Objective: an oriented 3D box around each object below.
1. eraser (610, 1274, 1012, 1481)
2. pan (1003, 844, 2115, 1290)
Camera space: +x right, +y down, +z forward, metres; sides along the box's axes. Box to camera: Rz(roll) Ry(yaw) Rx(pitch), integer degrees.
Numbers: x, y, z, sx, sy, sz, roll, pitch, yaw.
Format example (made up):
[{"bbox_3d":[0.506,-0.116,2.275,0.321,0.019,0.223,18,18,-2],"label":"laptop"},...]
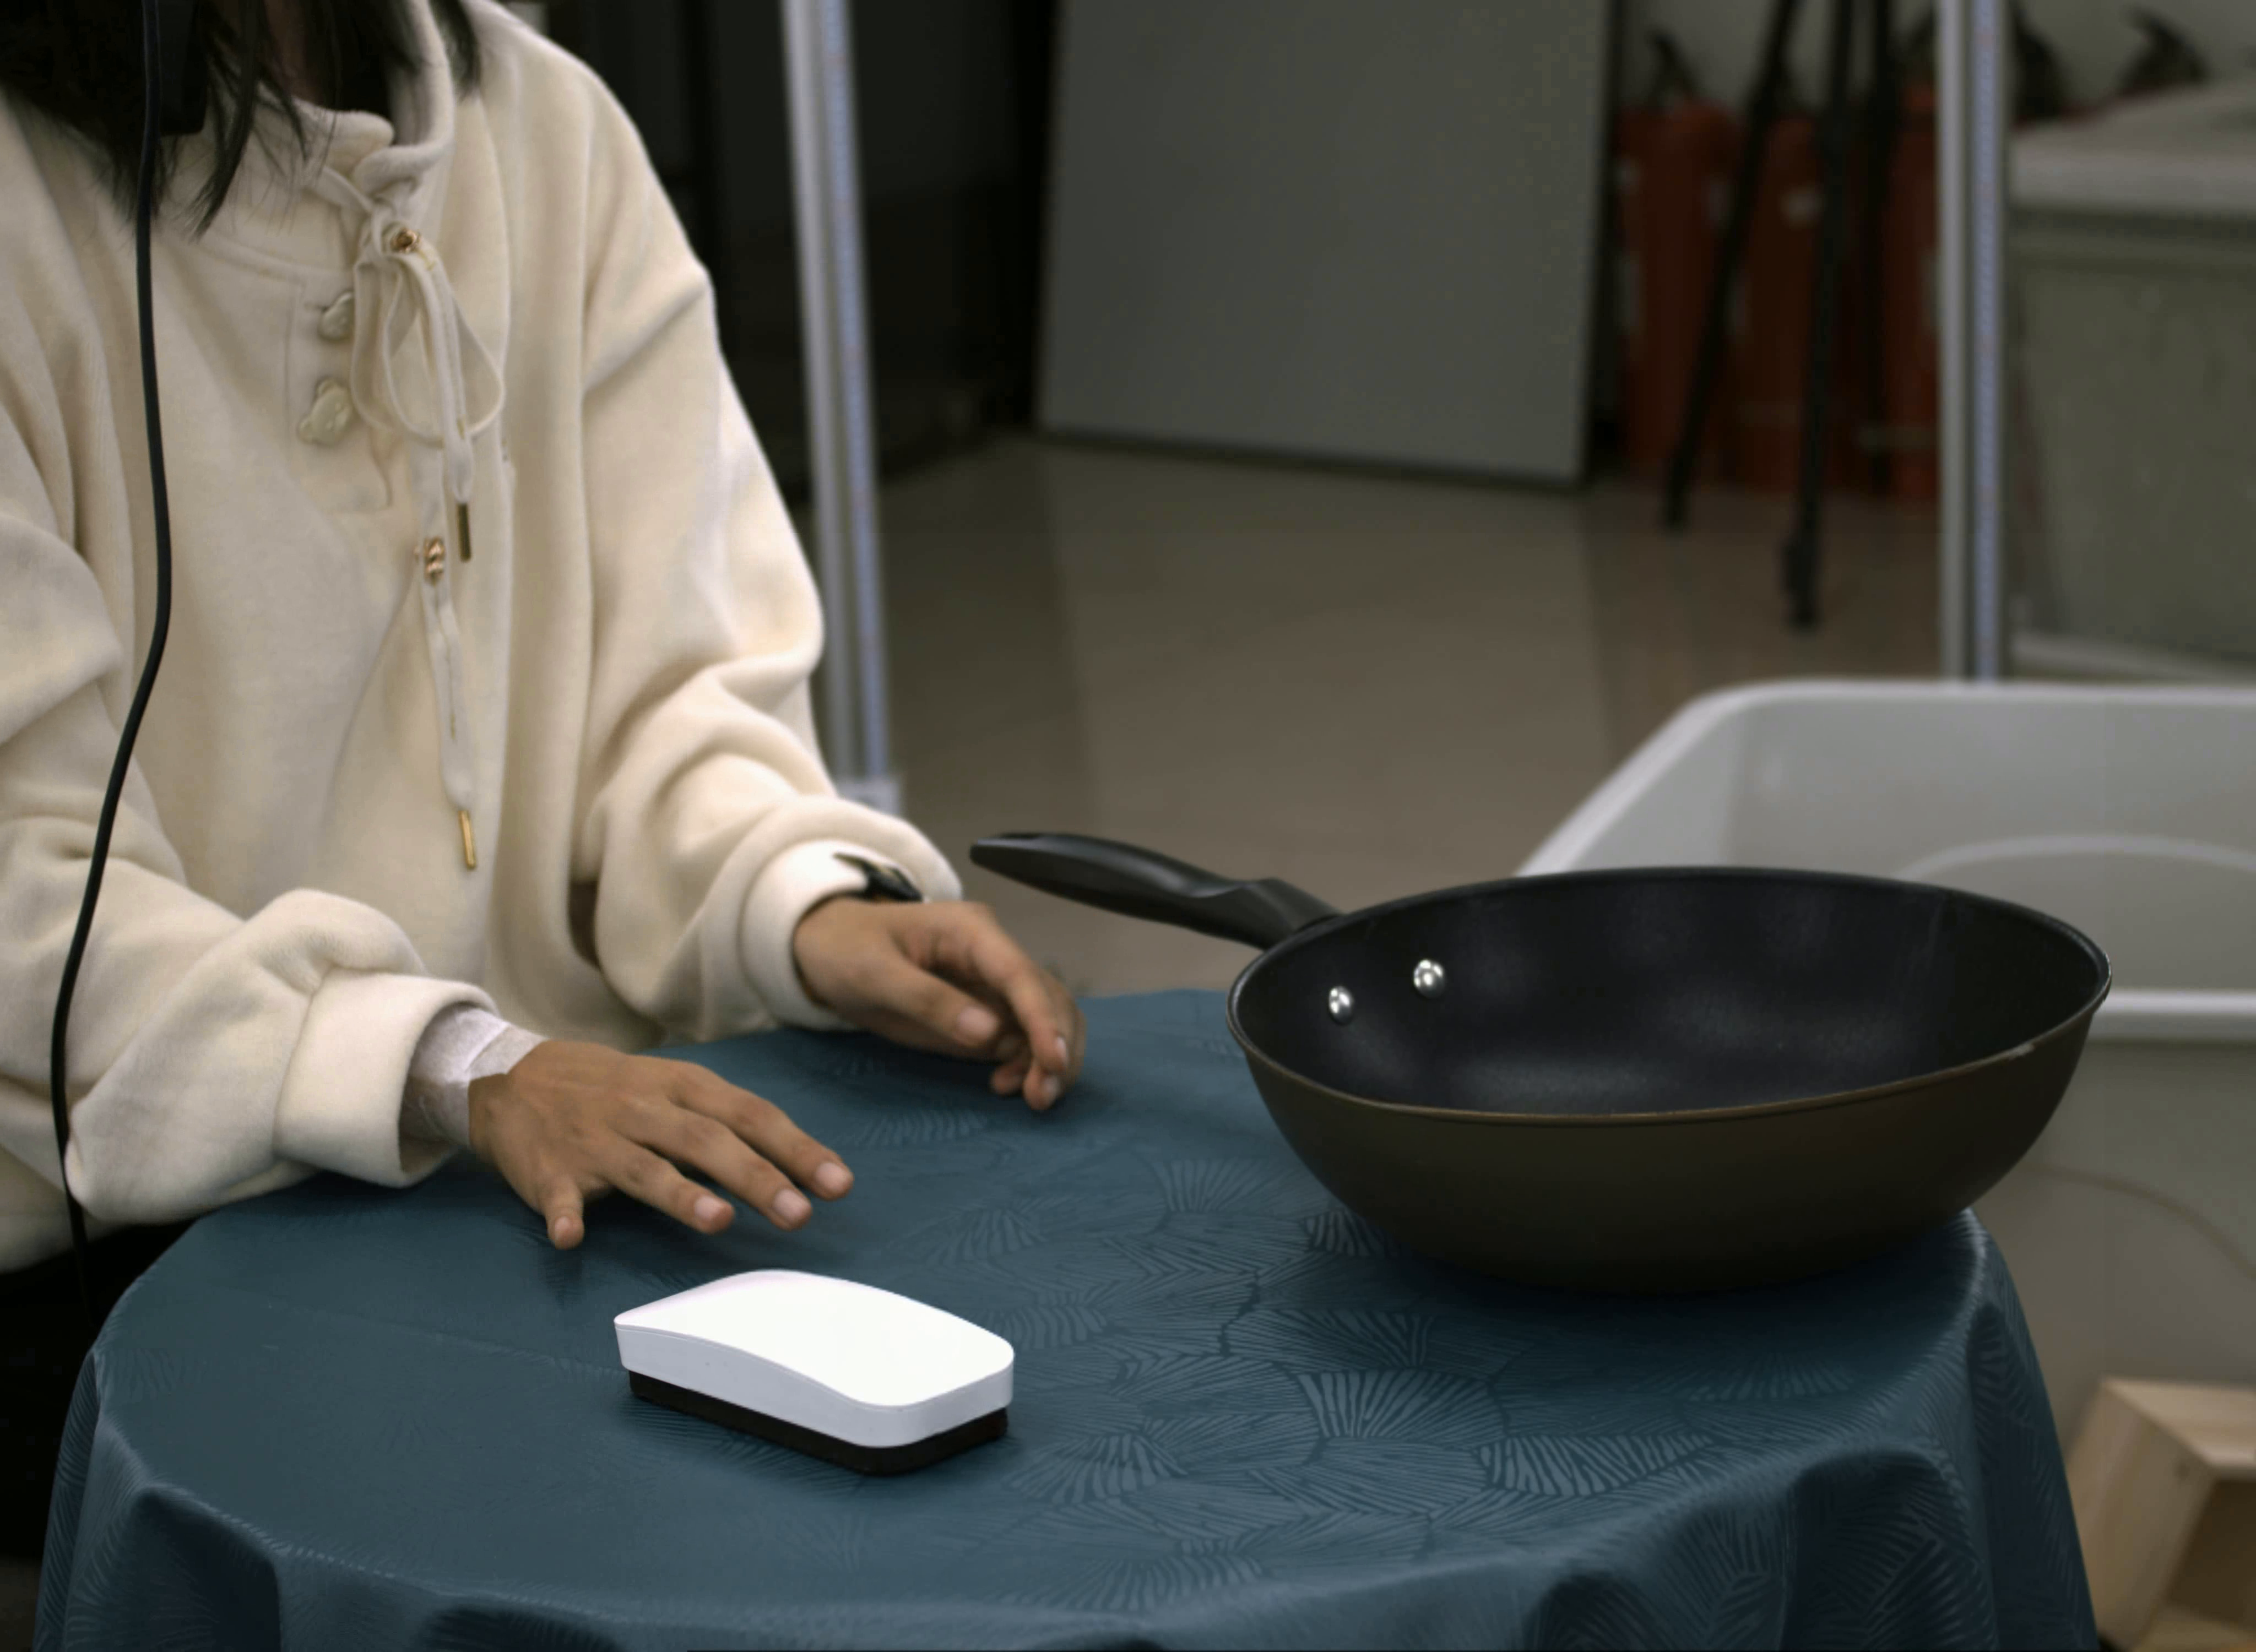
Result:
[{"bbox_3d":[-0.092,0.158,1.583,0.062,0.035,0.132,-12,16,-41],"label":"eraser"},{"bbox_3d":[0.110,0.073,1.760,0.282,0.088,0.468,-15,16,-39],"label":"pan"}]
